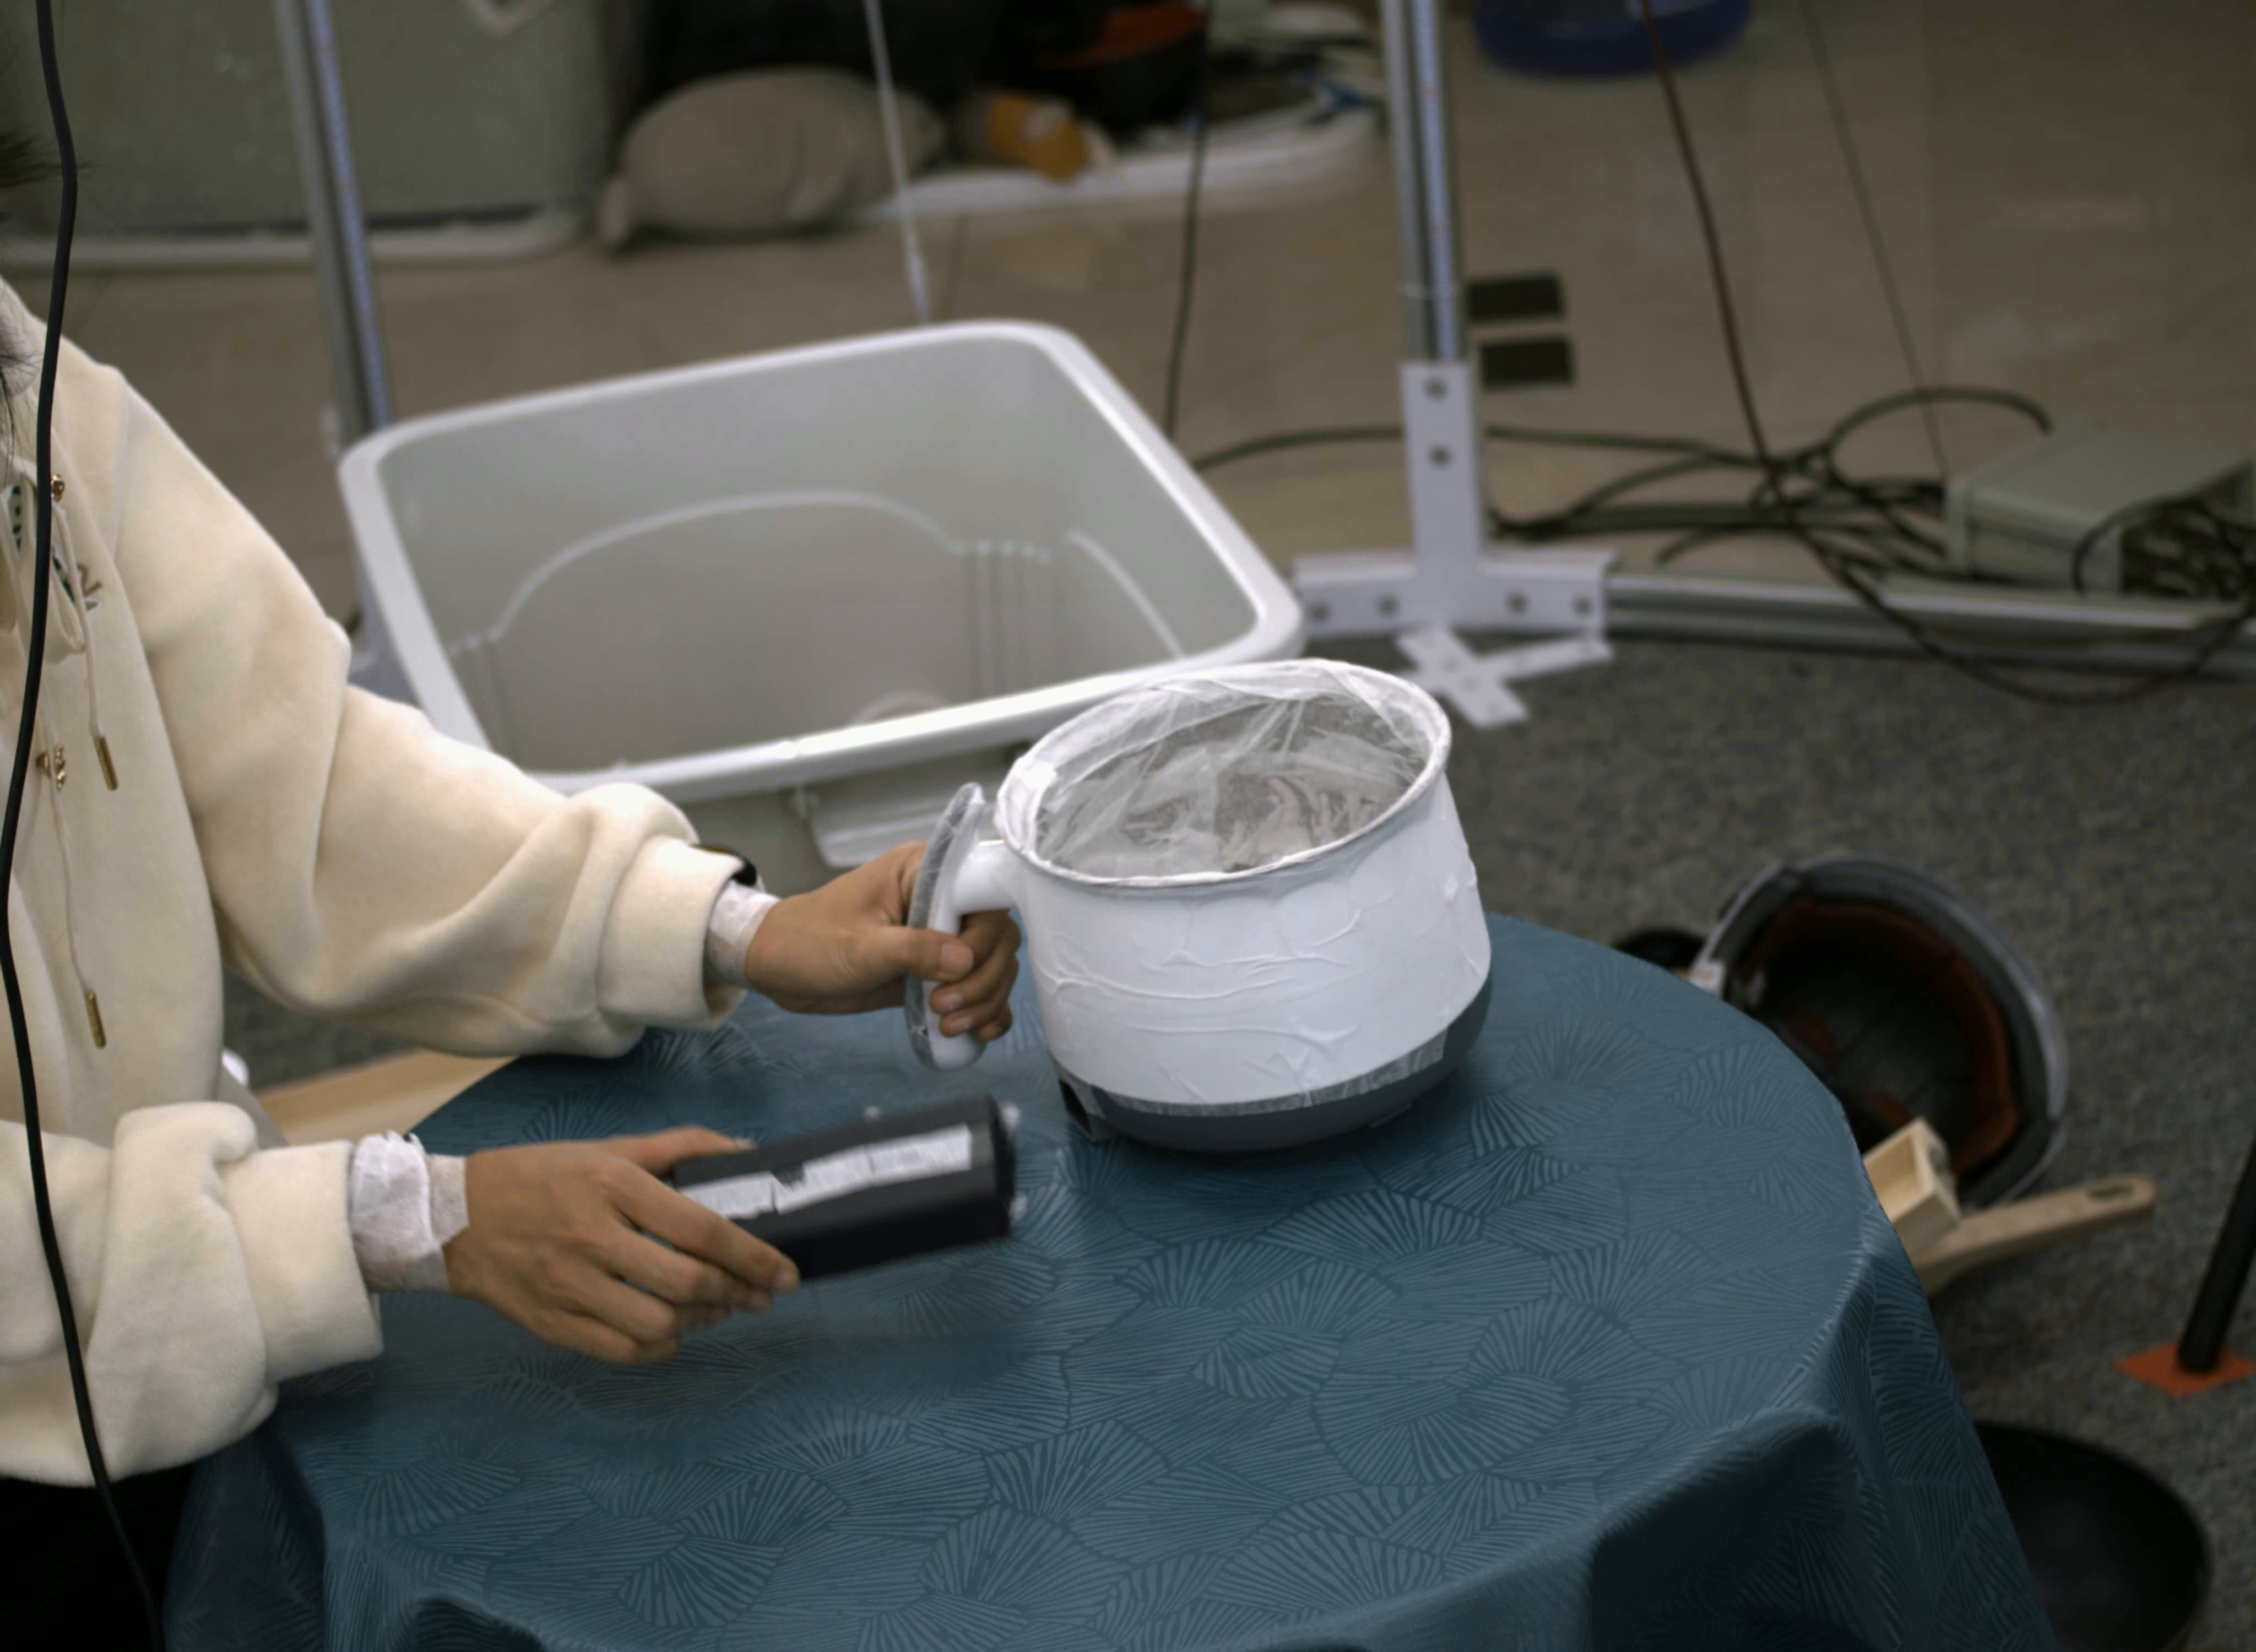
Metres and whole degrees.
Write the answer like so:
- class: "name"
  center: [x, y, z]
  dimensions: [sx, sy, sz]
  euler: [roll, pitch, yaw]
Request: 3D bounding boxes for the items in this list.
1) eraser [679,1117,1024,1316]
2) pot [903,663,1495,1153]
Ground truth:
- class: "eraser"
  center: [-0.098, 0.140, 2.049]
  dimensions: [0.125, 0.031, 0.052]
  euler: [-11, 45, 8]
- class: "pot"
  center: [0.022, 0.036, 2.188]
  dimensions: [0.233, 0.139, 0.176]
  euler: [-5, 28, 11]
